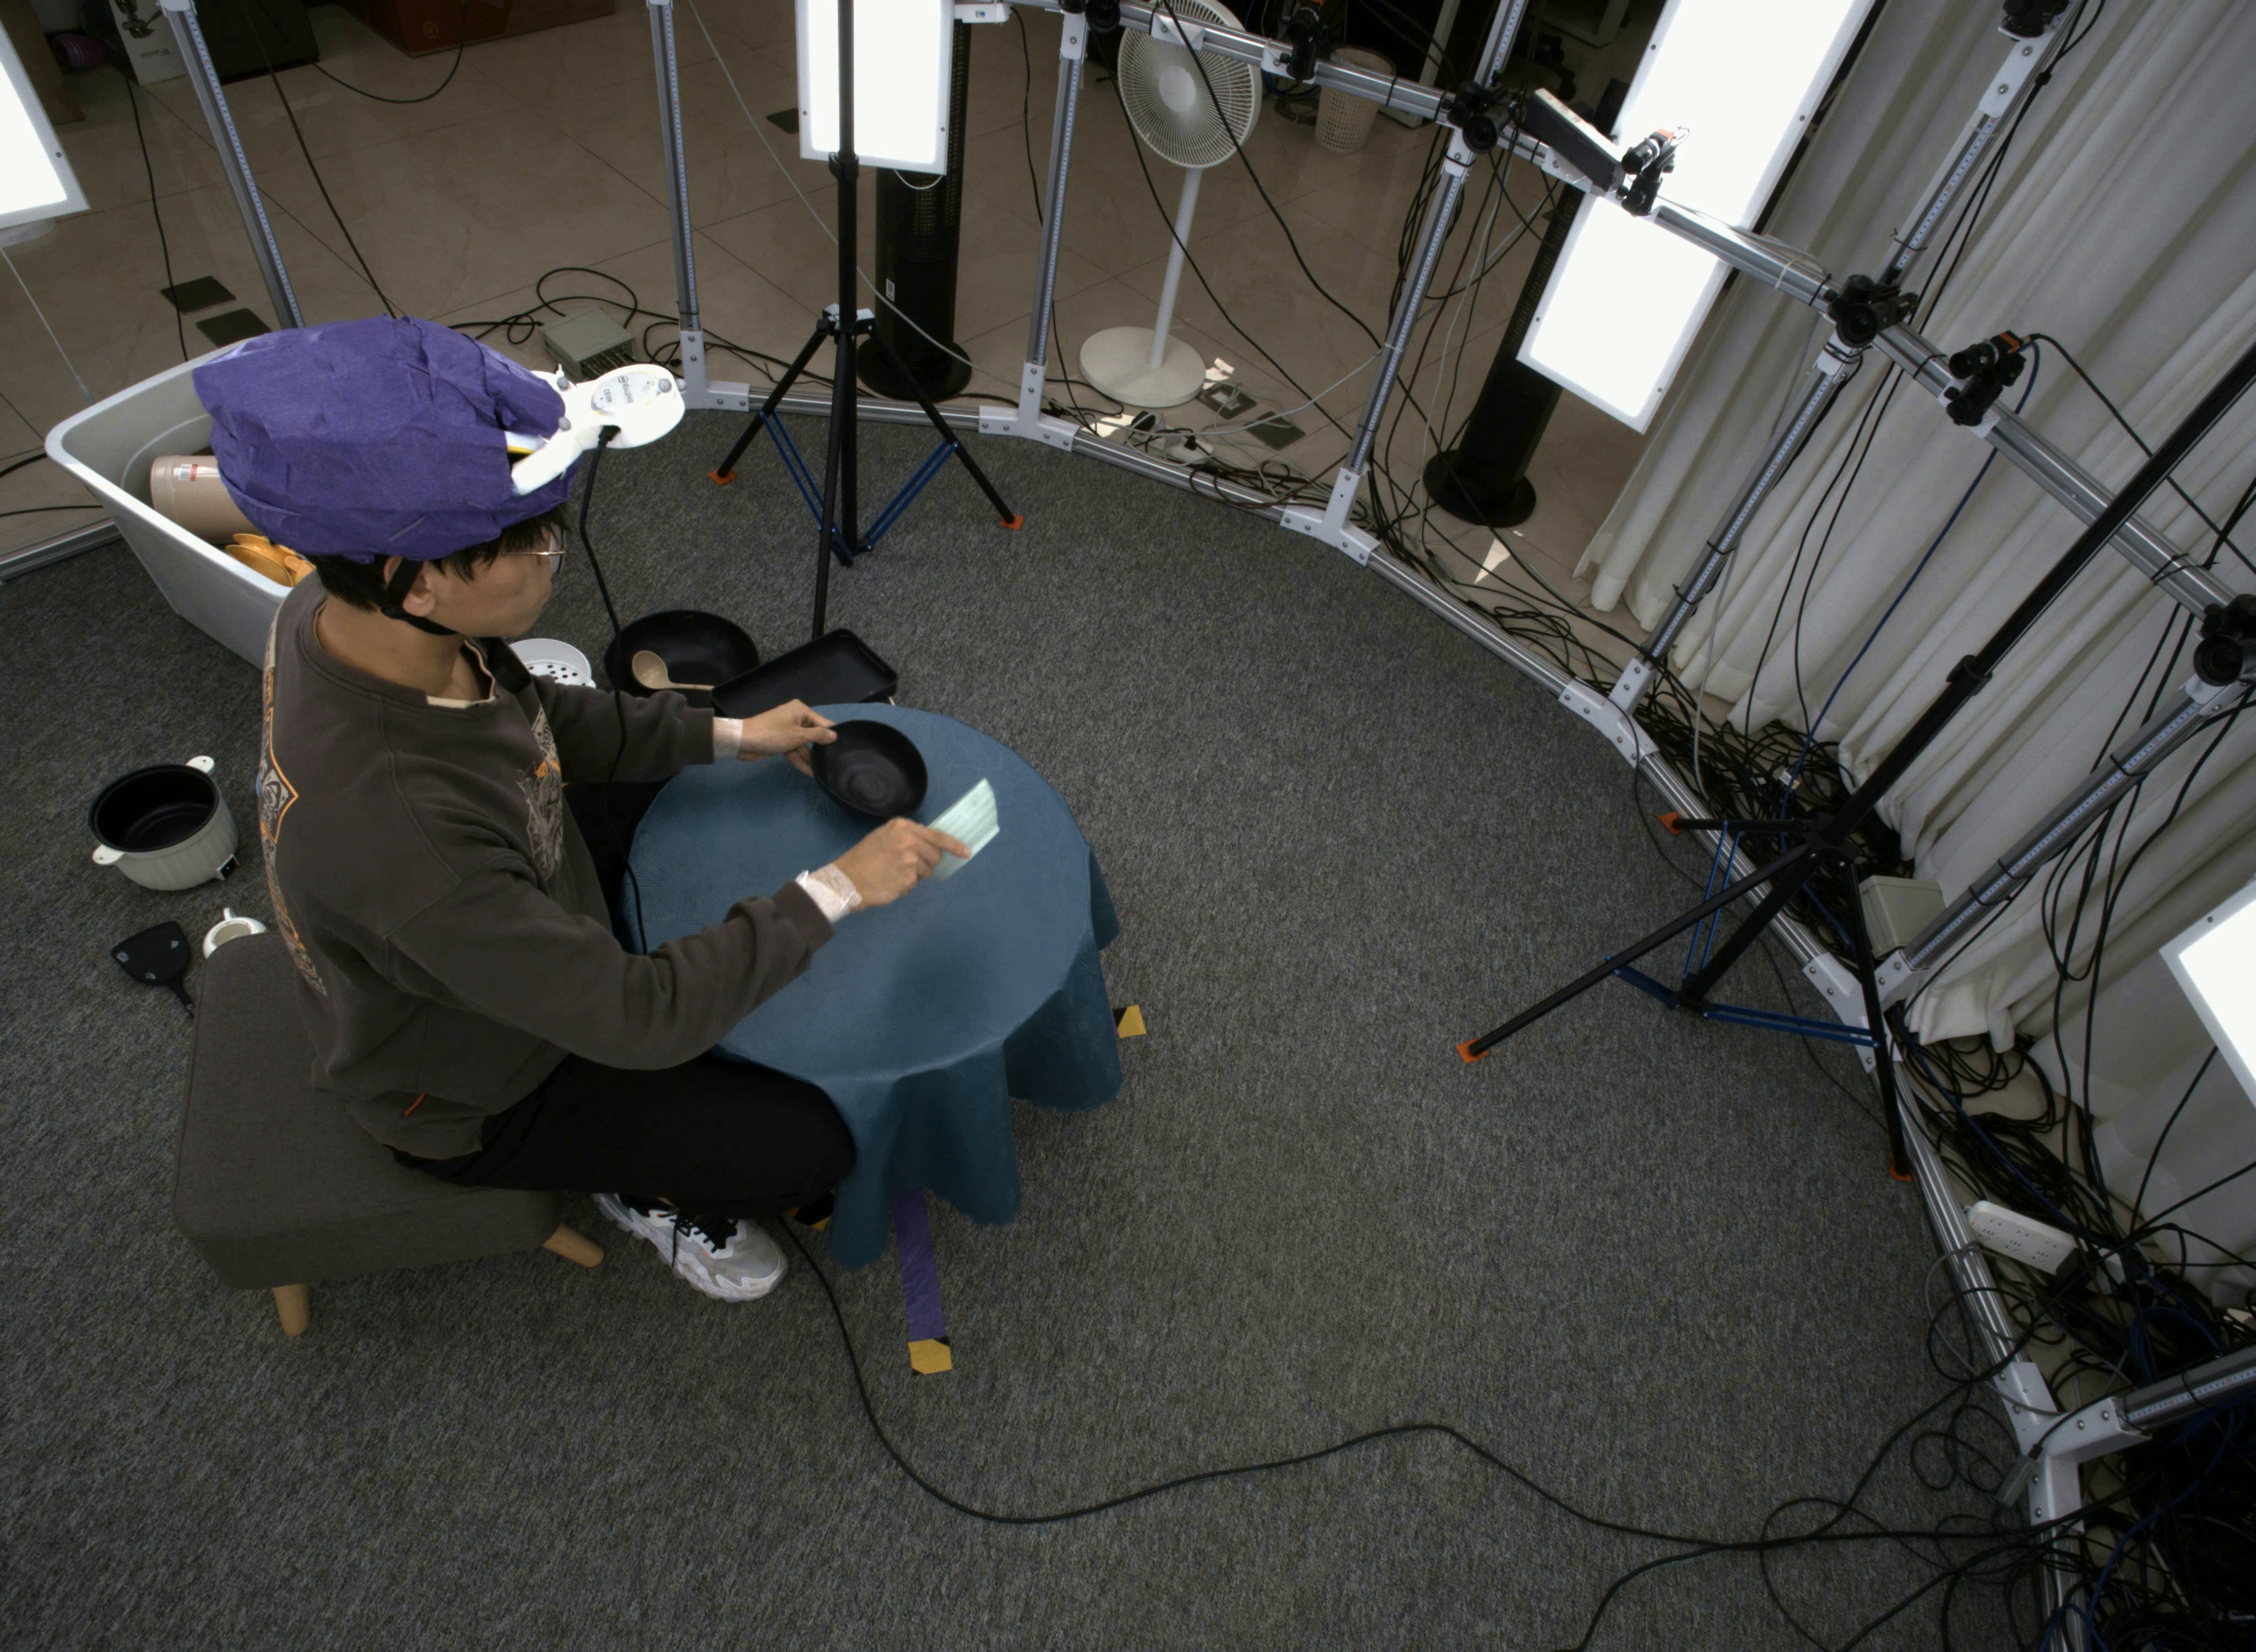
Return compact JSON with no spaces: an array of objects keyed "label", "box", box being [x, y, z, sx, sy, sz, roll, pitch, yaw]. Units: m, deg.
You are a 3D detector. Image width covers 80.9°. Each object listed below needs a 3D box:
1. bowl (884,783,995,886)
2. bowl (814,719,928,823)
[{"label":"bowl","box":[-0.212,0.017,1.536,0.059,0.149,0.151,51,55,-7]},{"label":"bowl","box":[-0.347,-0.065,1.761,0.168,0.067,0.137,38,57,8]}]
